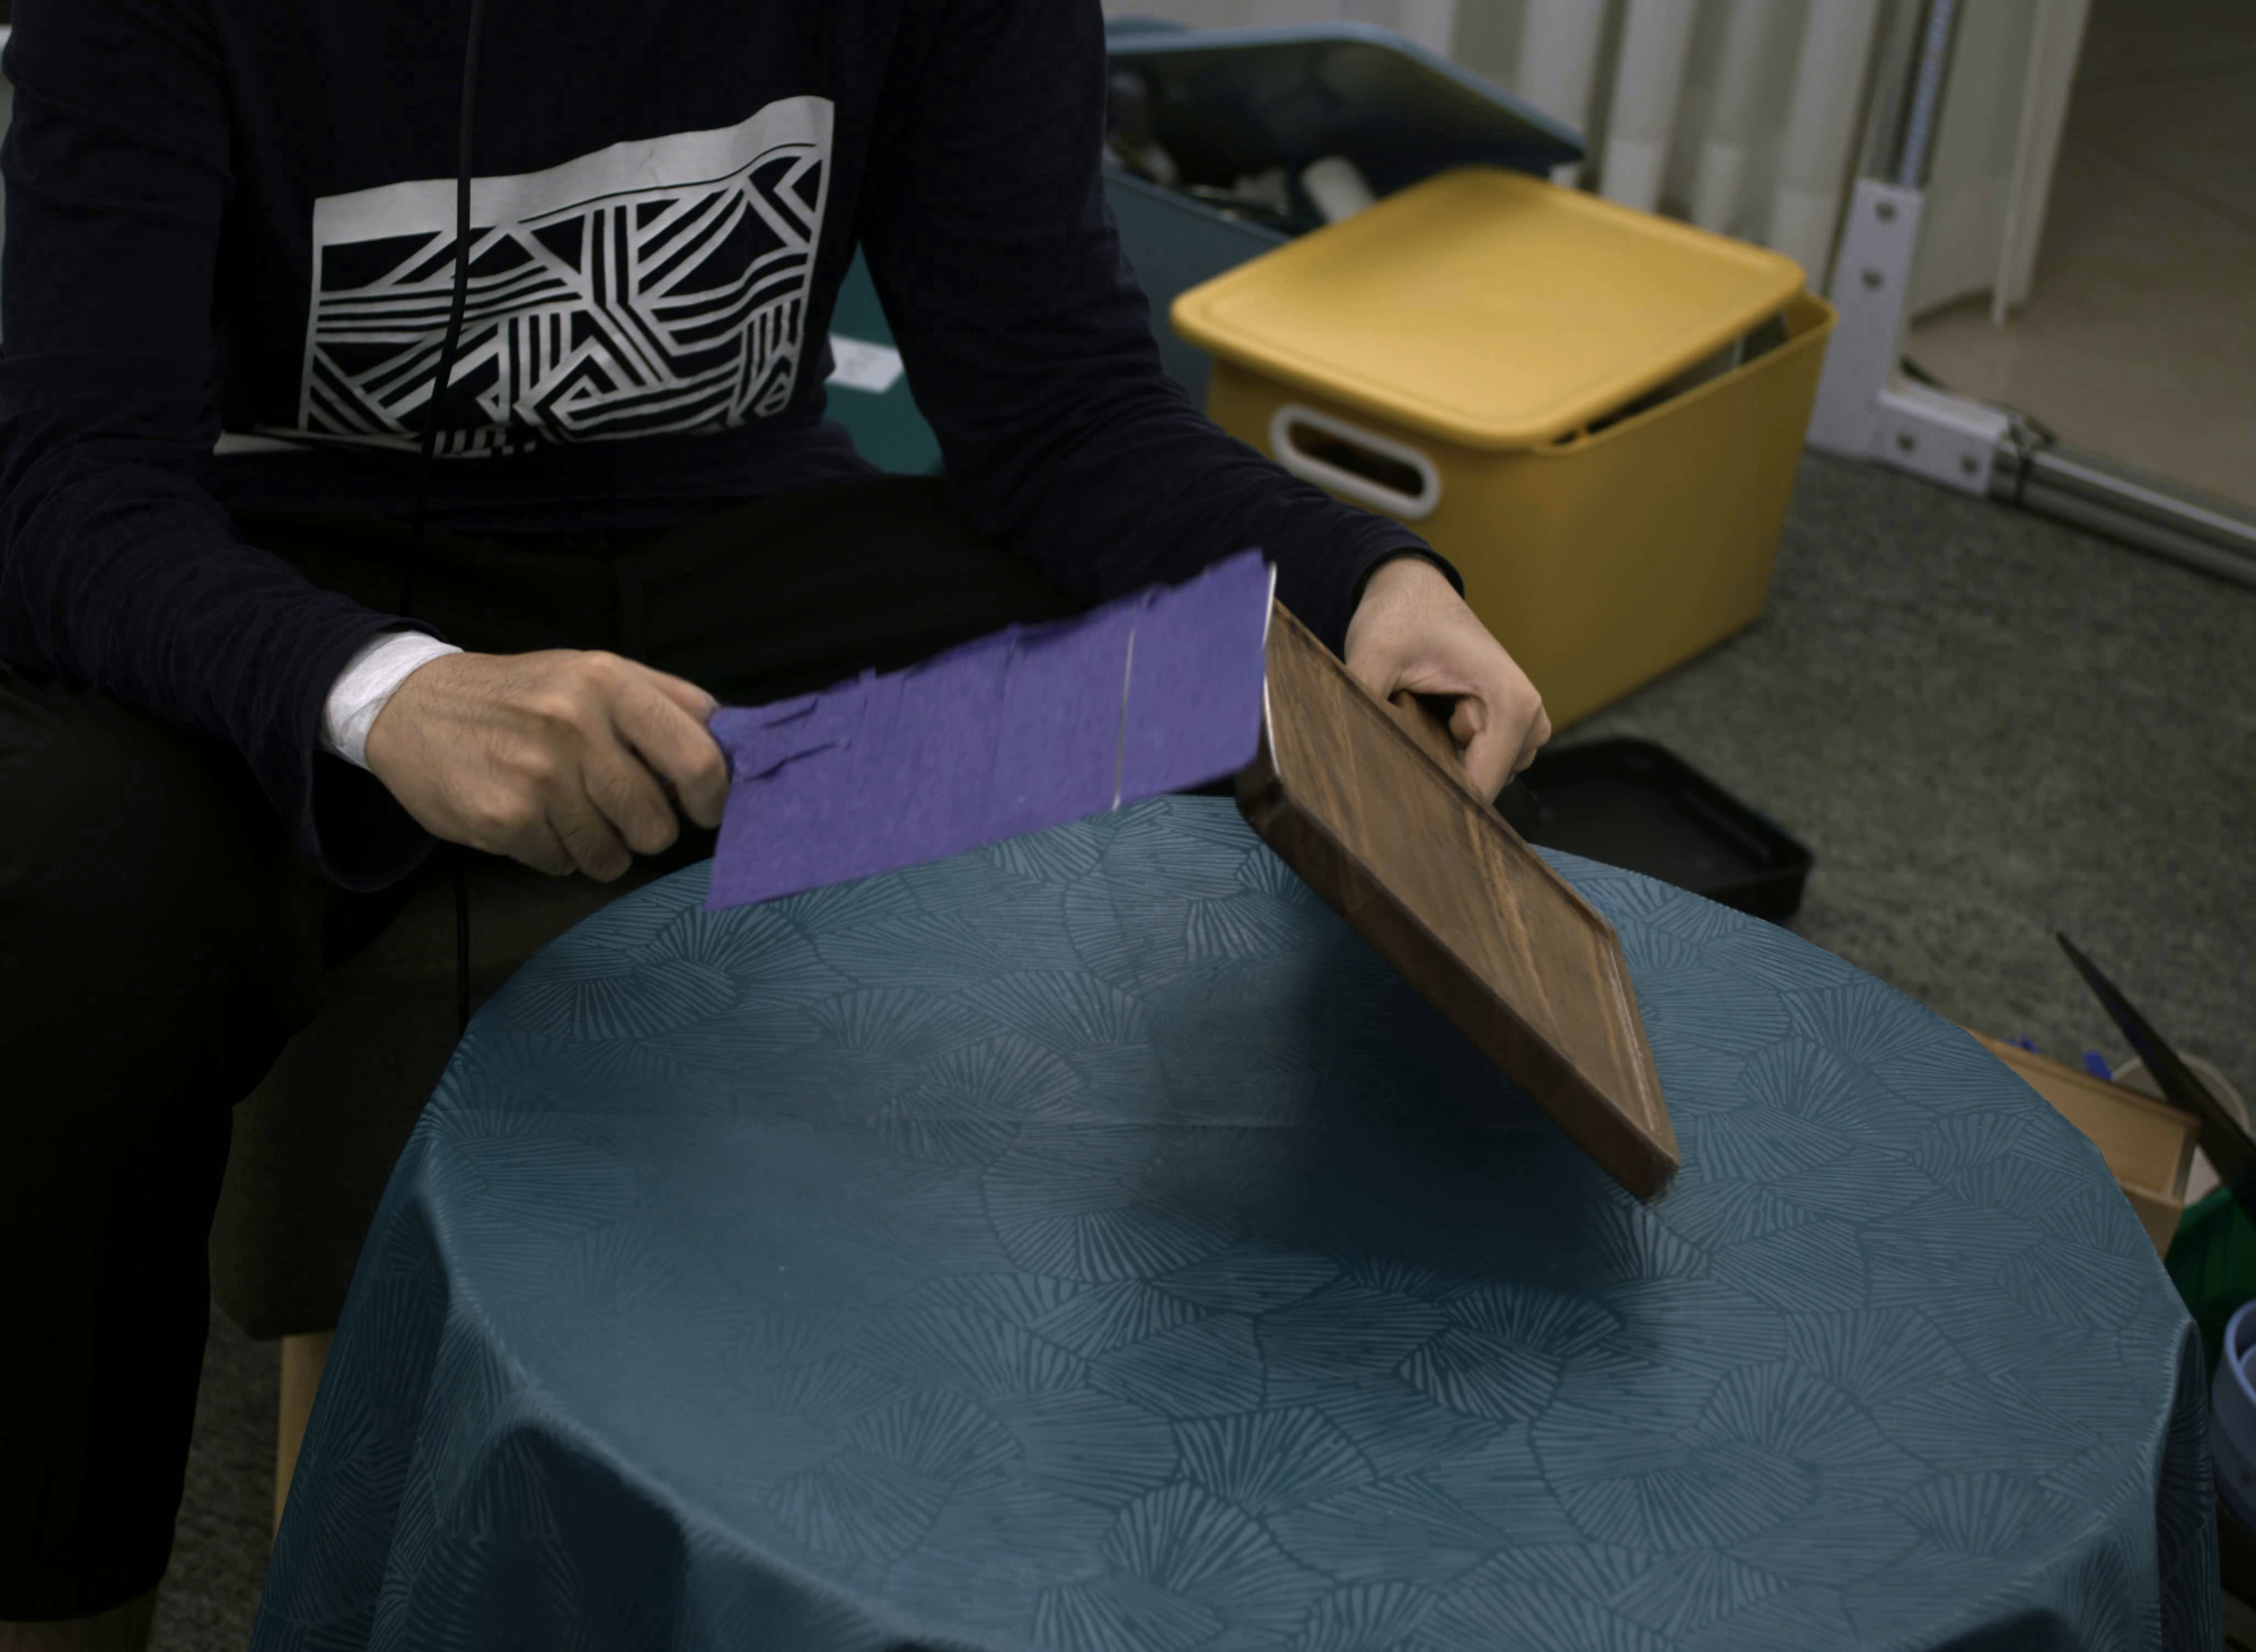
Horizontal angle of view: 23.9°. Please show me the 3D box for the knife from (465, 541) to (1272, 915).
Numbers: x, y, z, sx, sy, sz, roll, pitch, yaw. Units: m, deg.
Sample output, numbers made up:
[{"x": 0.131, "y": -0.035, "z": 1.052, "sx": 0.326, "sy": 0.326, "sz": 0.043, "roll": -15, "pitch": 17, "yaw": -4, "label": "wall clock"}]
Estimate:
[{"x": -0.094, "y": -0.018, "z": 1.764, "sx": 0.316, "sy": 0.032, "sz": 0.104, "roll": -17, "pitch": 41, "yaw": 27, "label": "knife"}]

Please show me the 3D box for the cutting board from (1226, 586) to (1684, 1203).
[{"x": 0.108, "y": 0.004, "z": 1.899, "sx": 0.200, "sy": 0.023, "sz": 0.353, "roll": 43, "pitch": 12, "yaw": -12, "label": "cutting board"}]
